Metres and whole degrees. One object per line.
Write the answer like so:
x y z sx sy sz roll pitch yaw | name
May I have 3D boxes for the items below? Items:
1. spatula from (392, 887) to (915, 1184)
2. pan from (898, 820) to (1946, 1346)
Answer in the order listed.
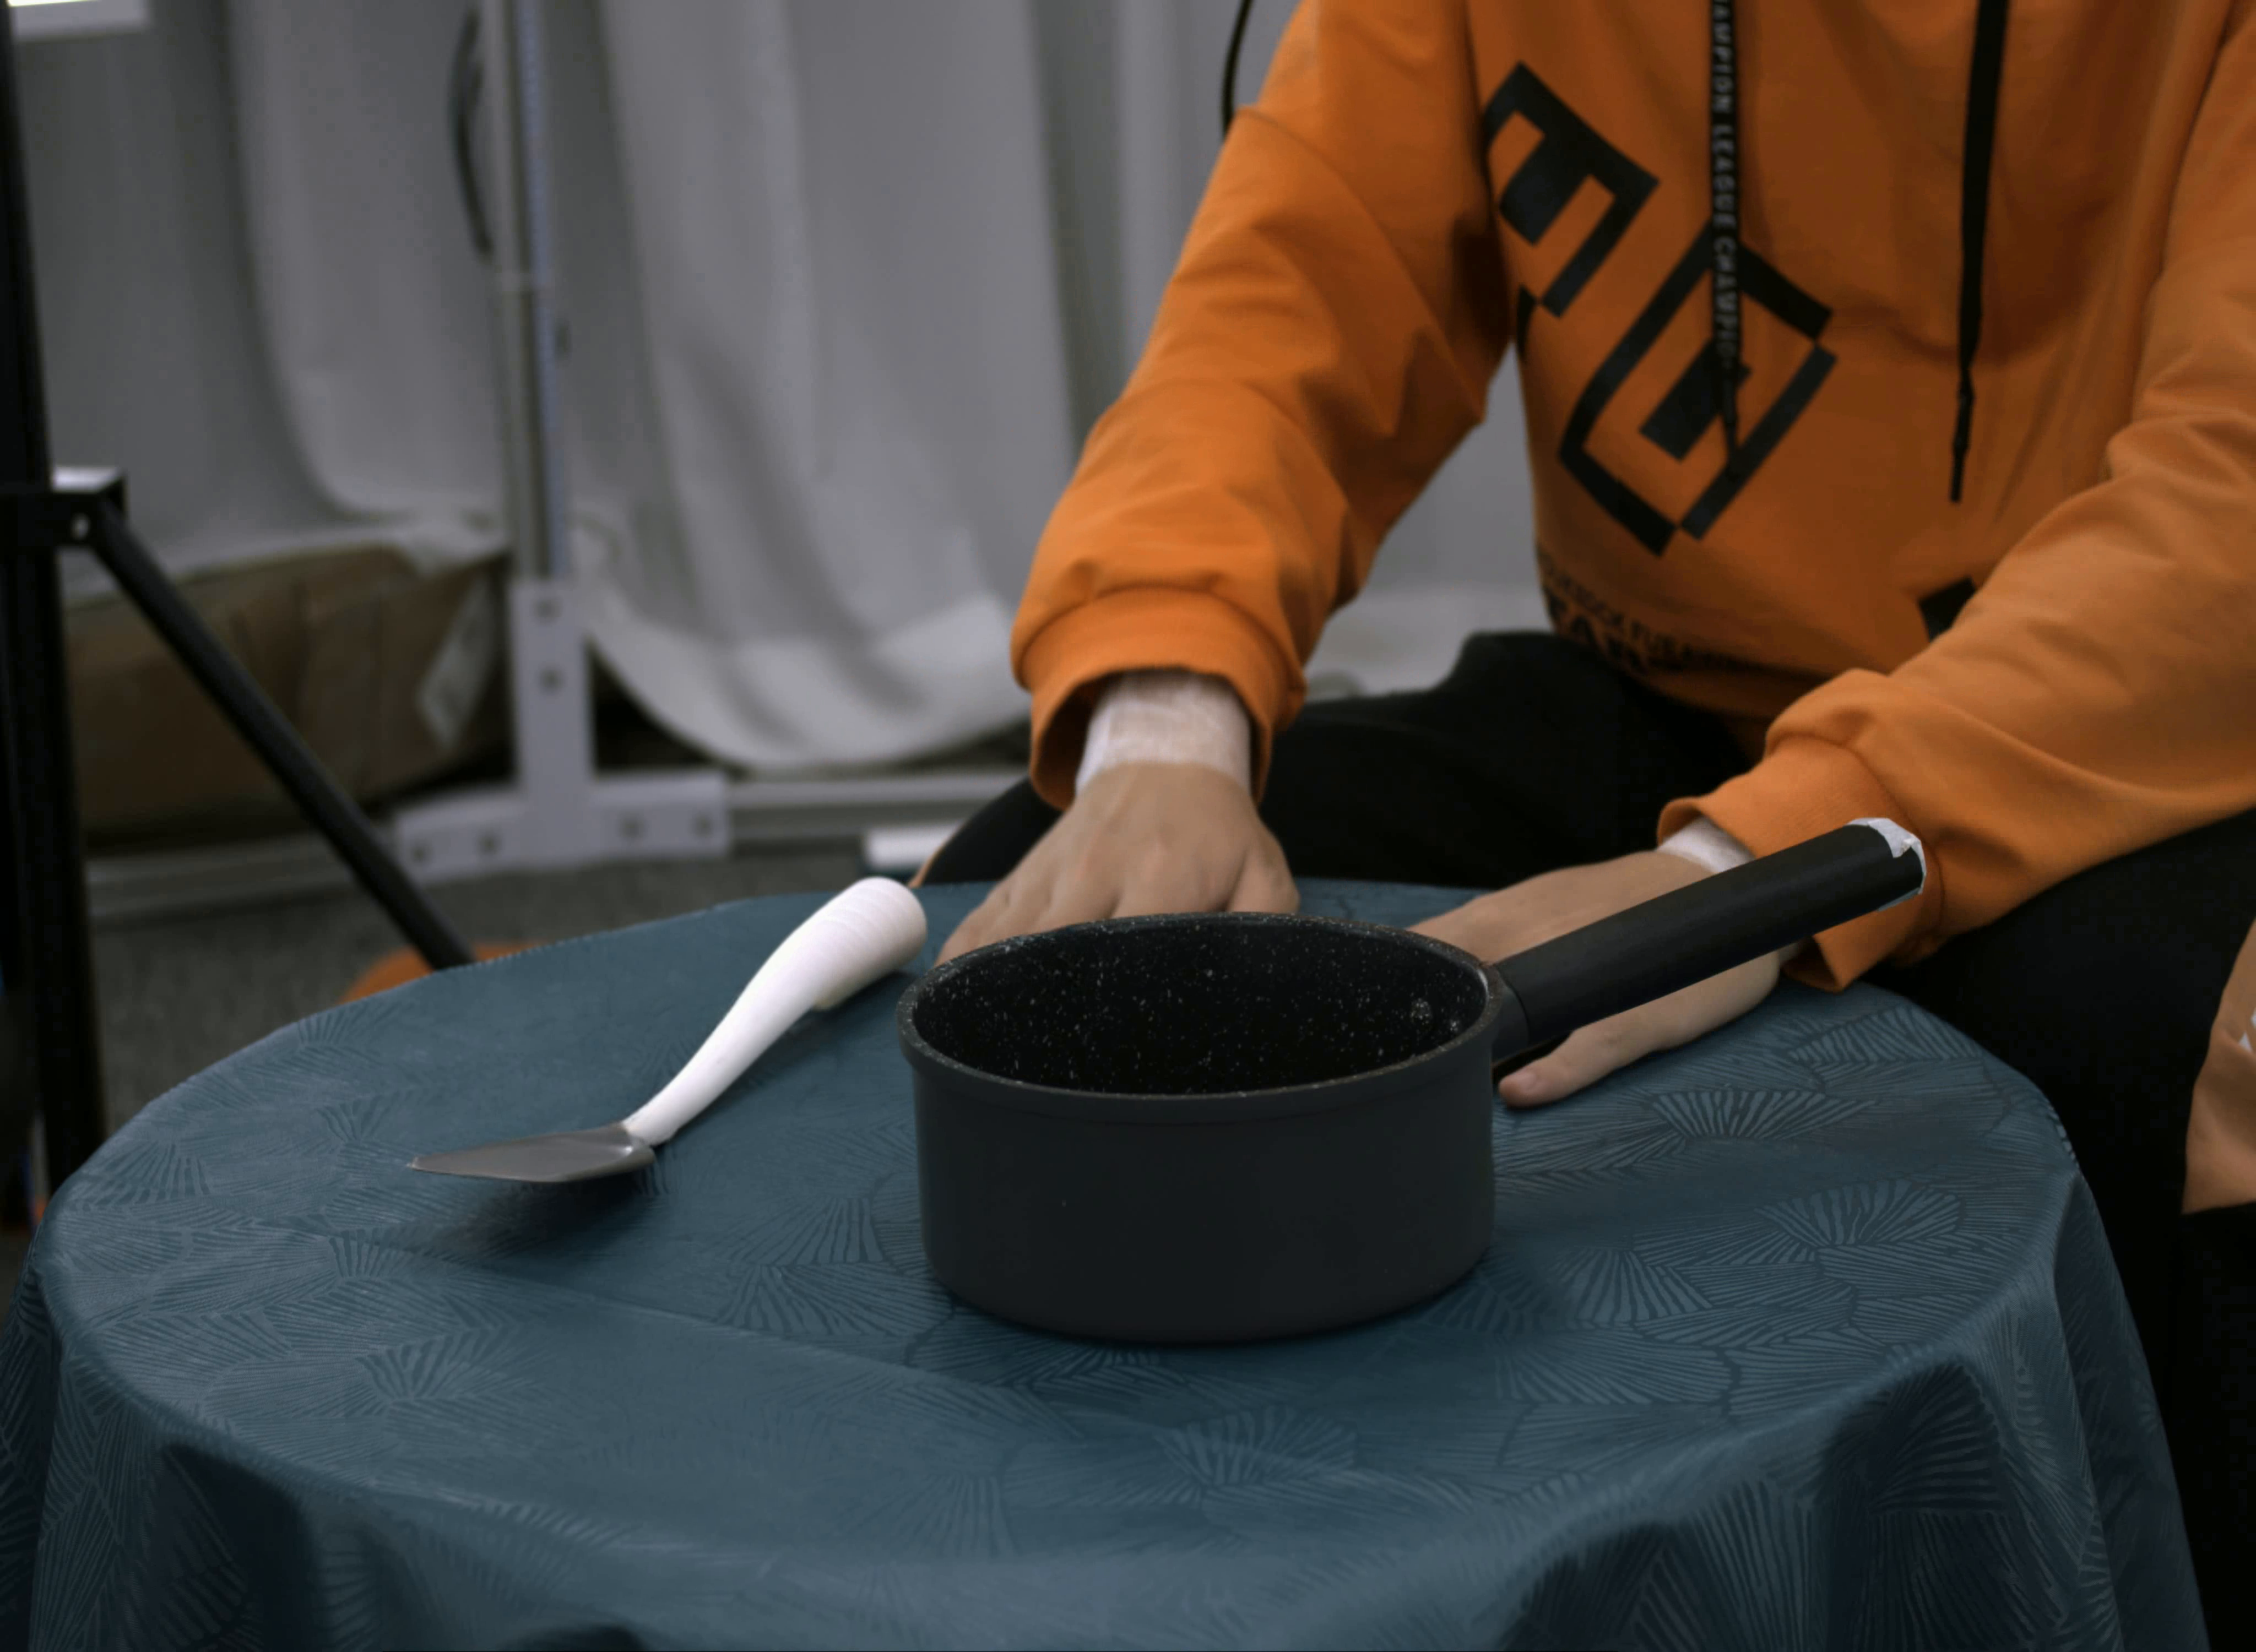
-0.136 0.072 1.649 0.059 0.032 0.284 7 18 21 | spatula
0.092 0.069 1.526 0.322 0.086 0.175 -11 18 -22 | pan
